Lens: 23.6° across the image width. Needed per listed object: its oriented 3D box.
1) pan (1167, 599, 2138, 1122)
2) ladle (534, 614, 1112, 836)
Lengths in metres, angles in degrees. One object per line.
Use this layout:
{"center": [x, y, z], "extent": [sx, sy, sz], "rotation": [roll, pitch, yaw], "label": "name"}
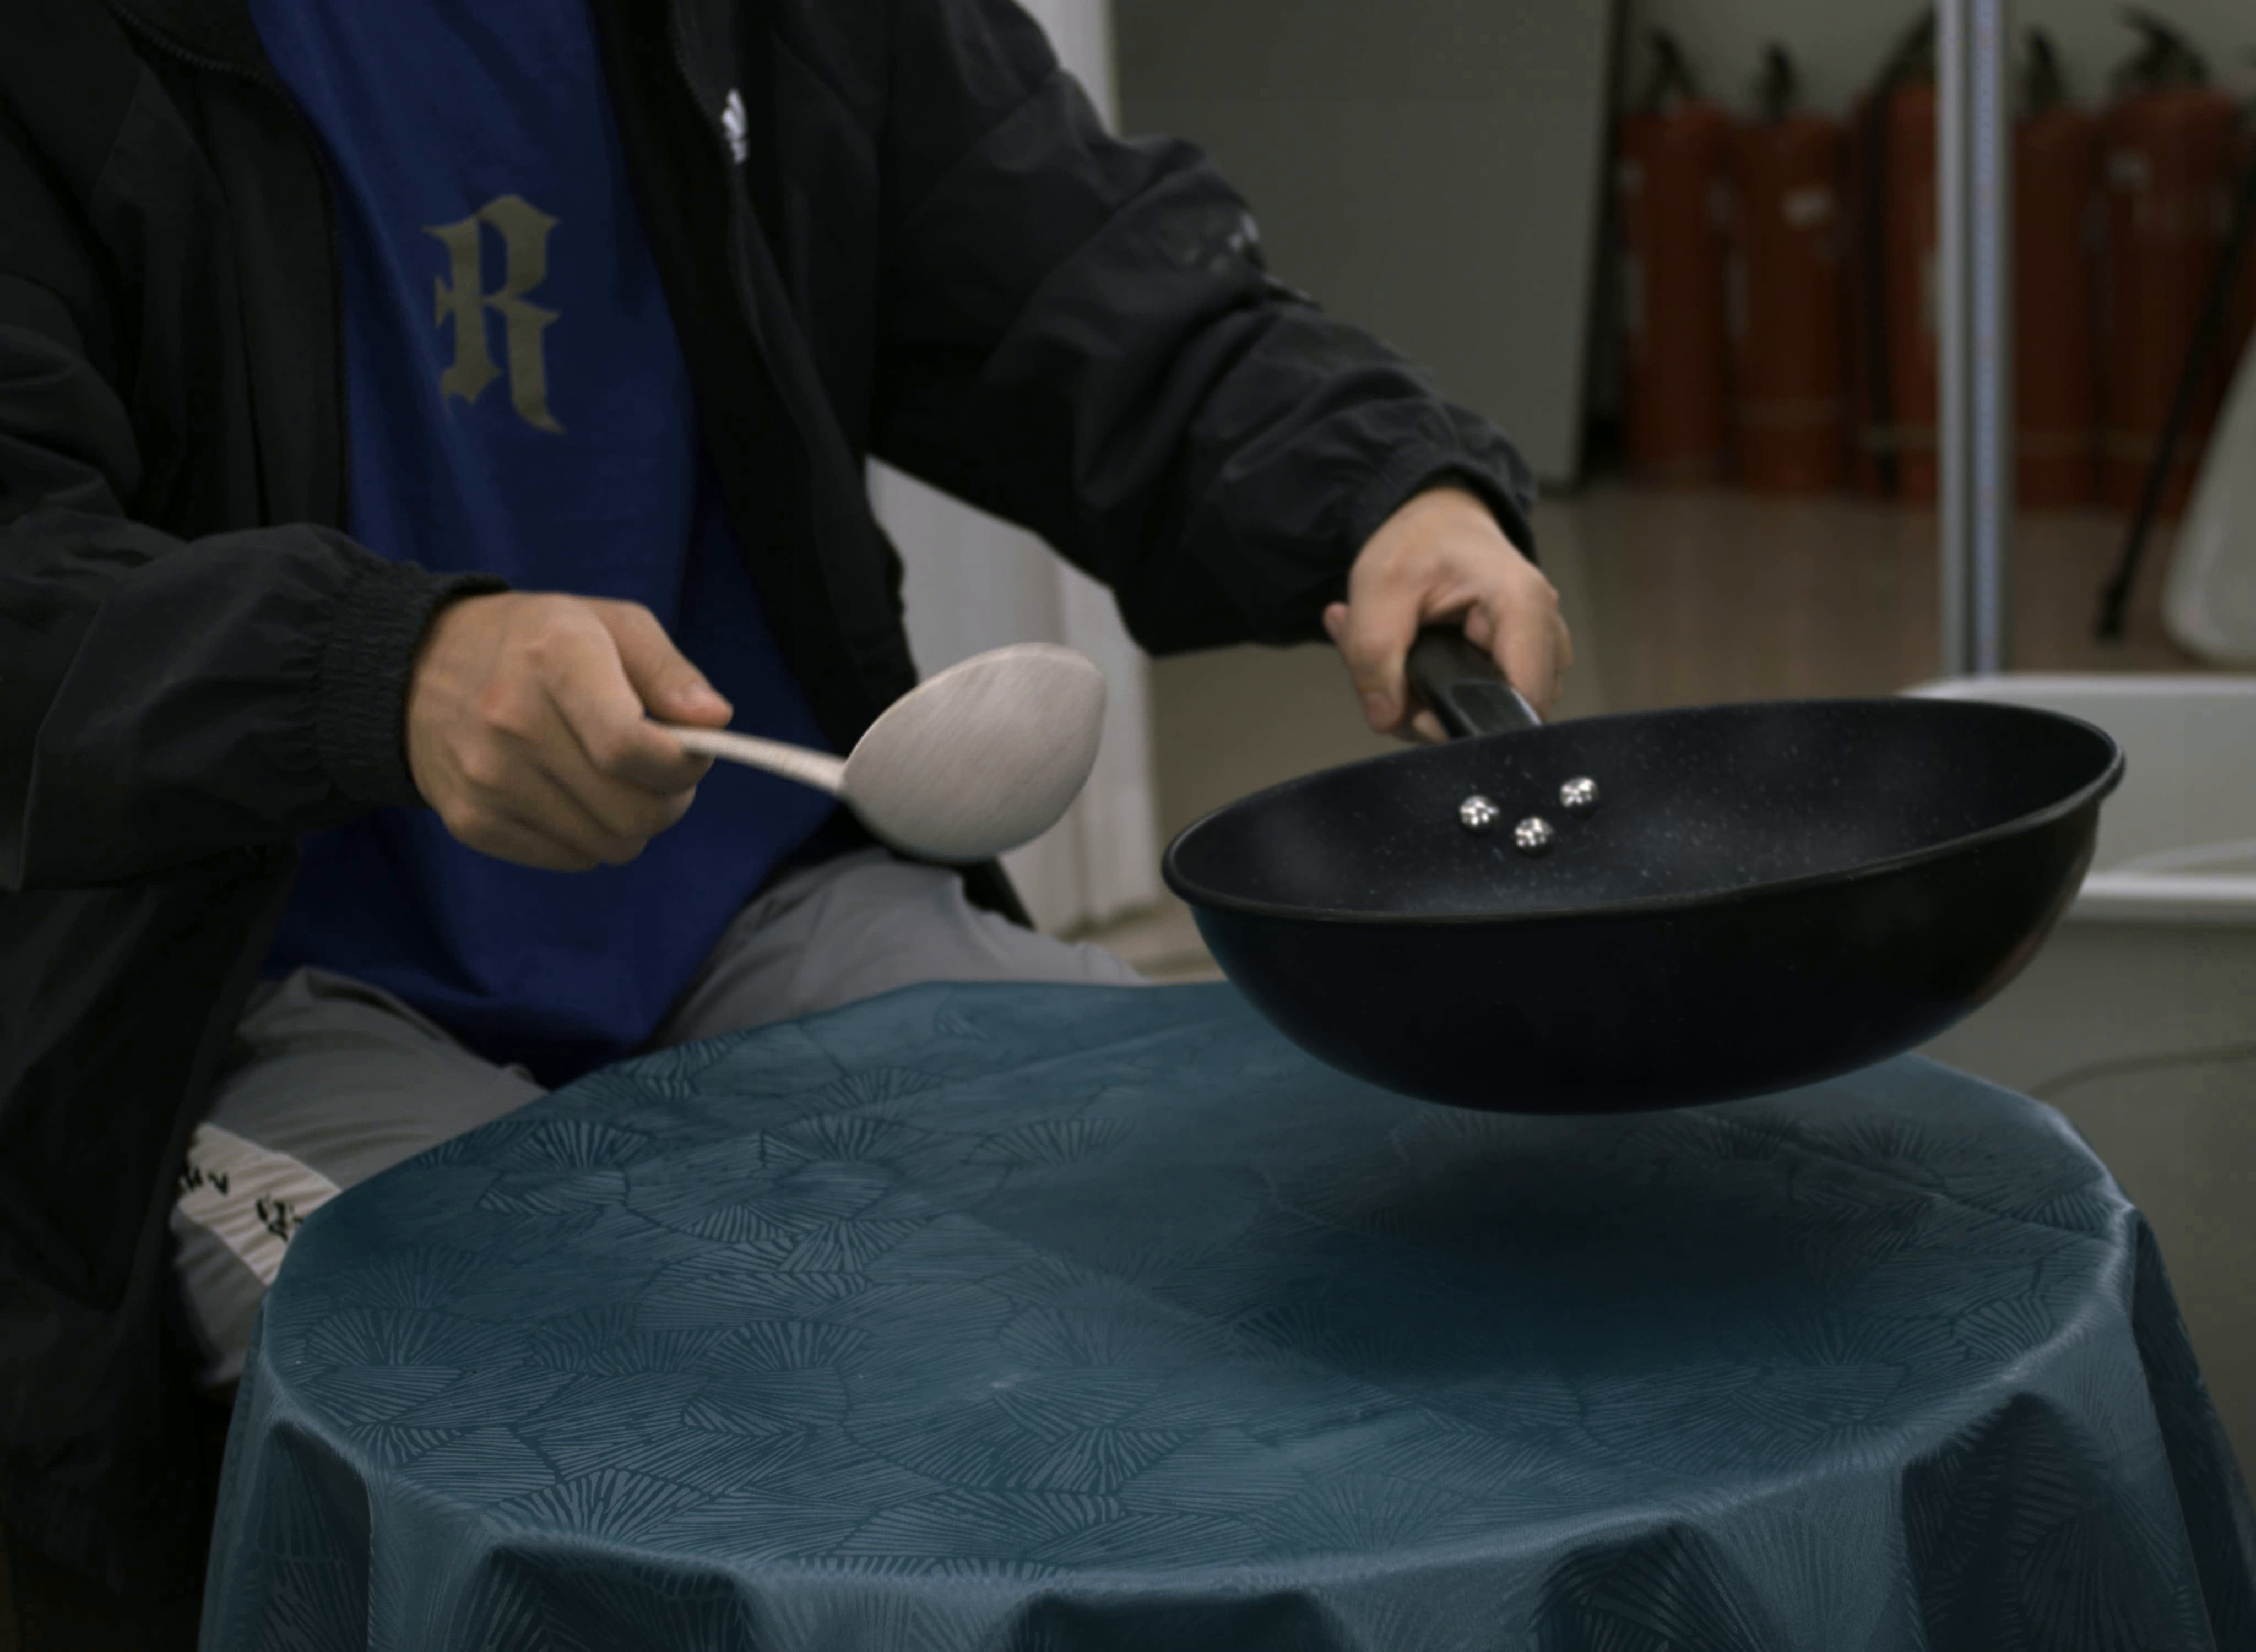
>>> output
{"center": [0.150, 0.008, 1.787], "extent": [0.305, 0.113, 0.479], "rotation": [-8, 11, -10], "label": "pan"}
{"center": [-0.109, -0.045, 1.699], "extent": [0.087, 0.070, 0.278], "rotation": [-5, 10, -37], "label": "ladle"}
